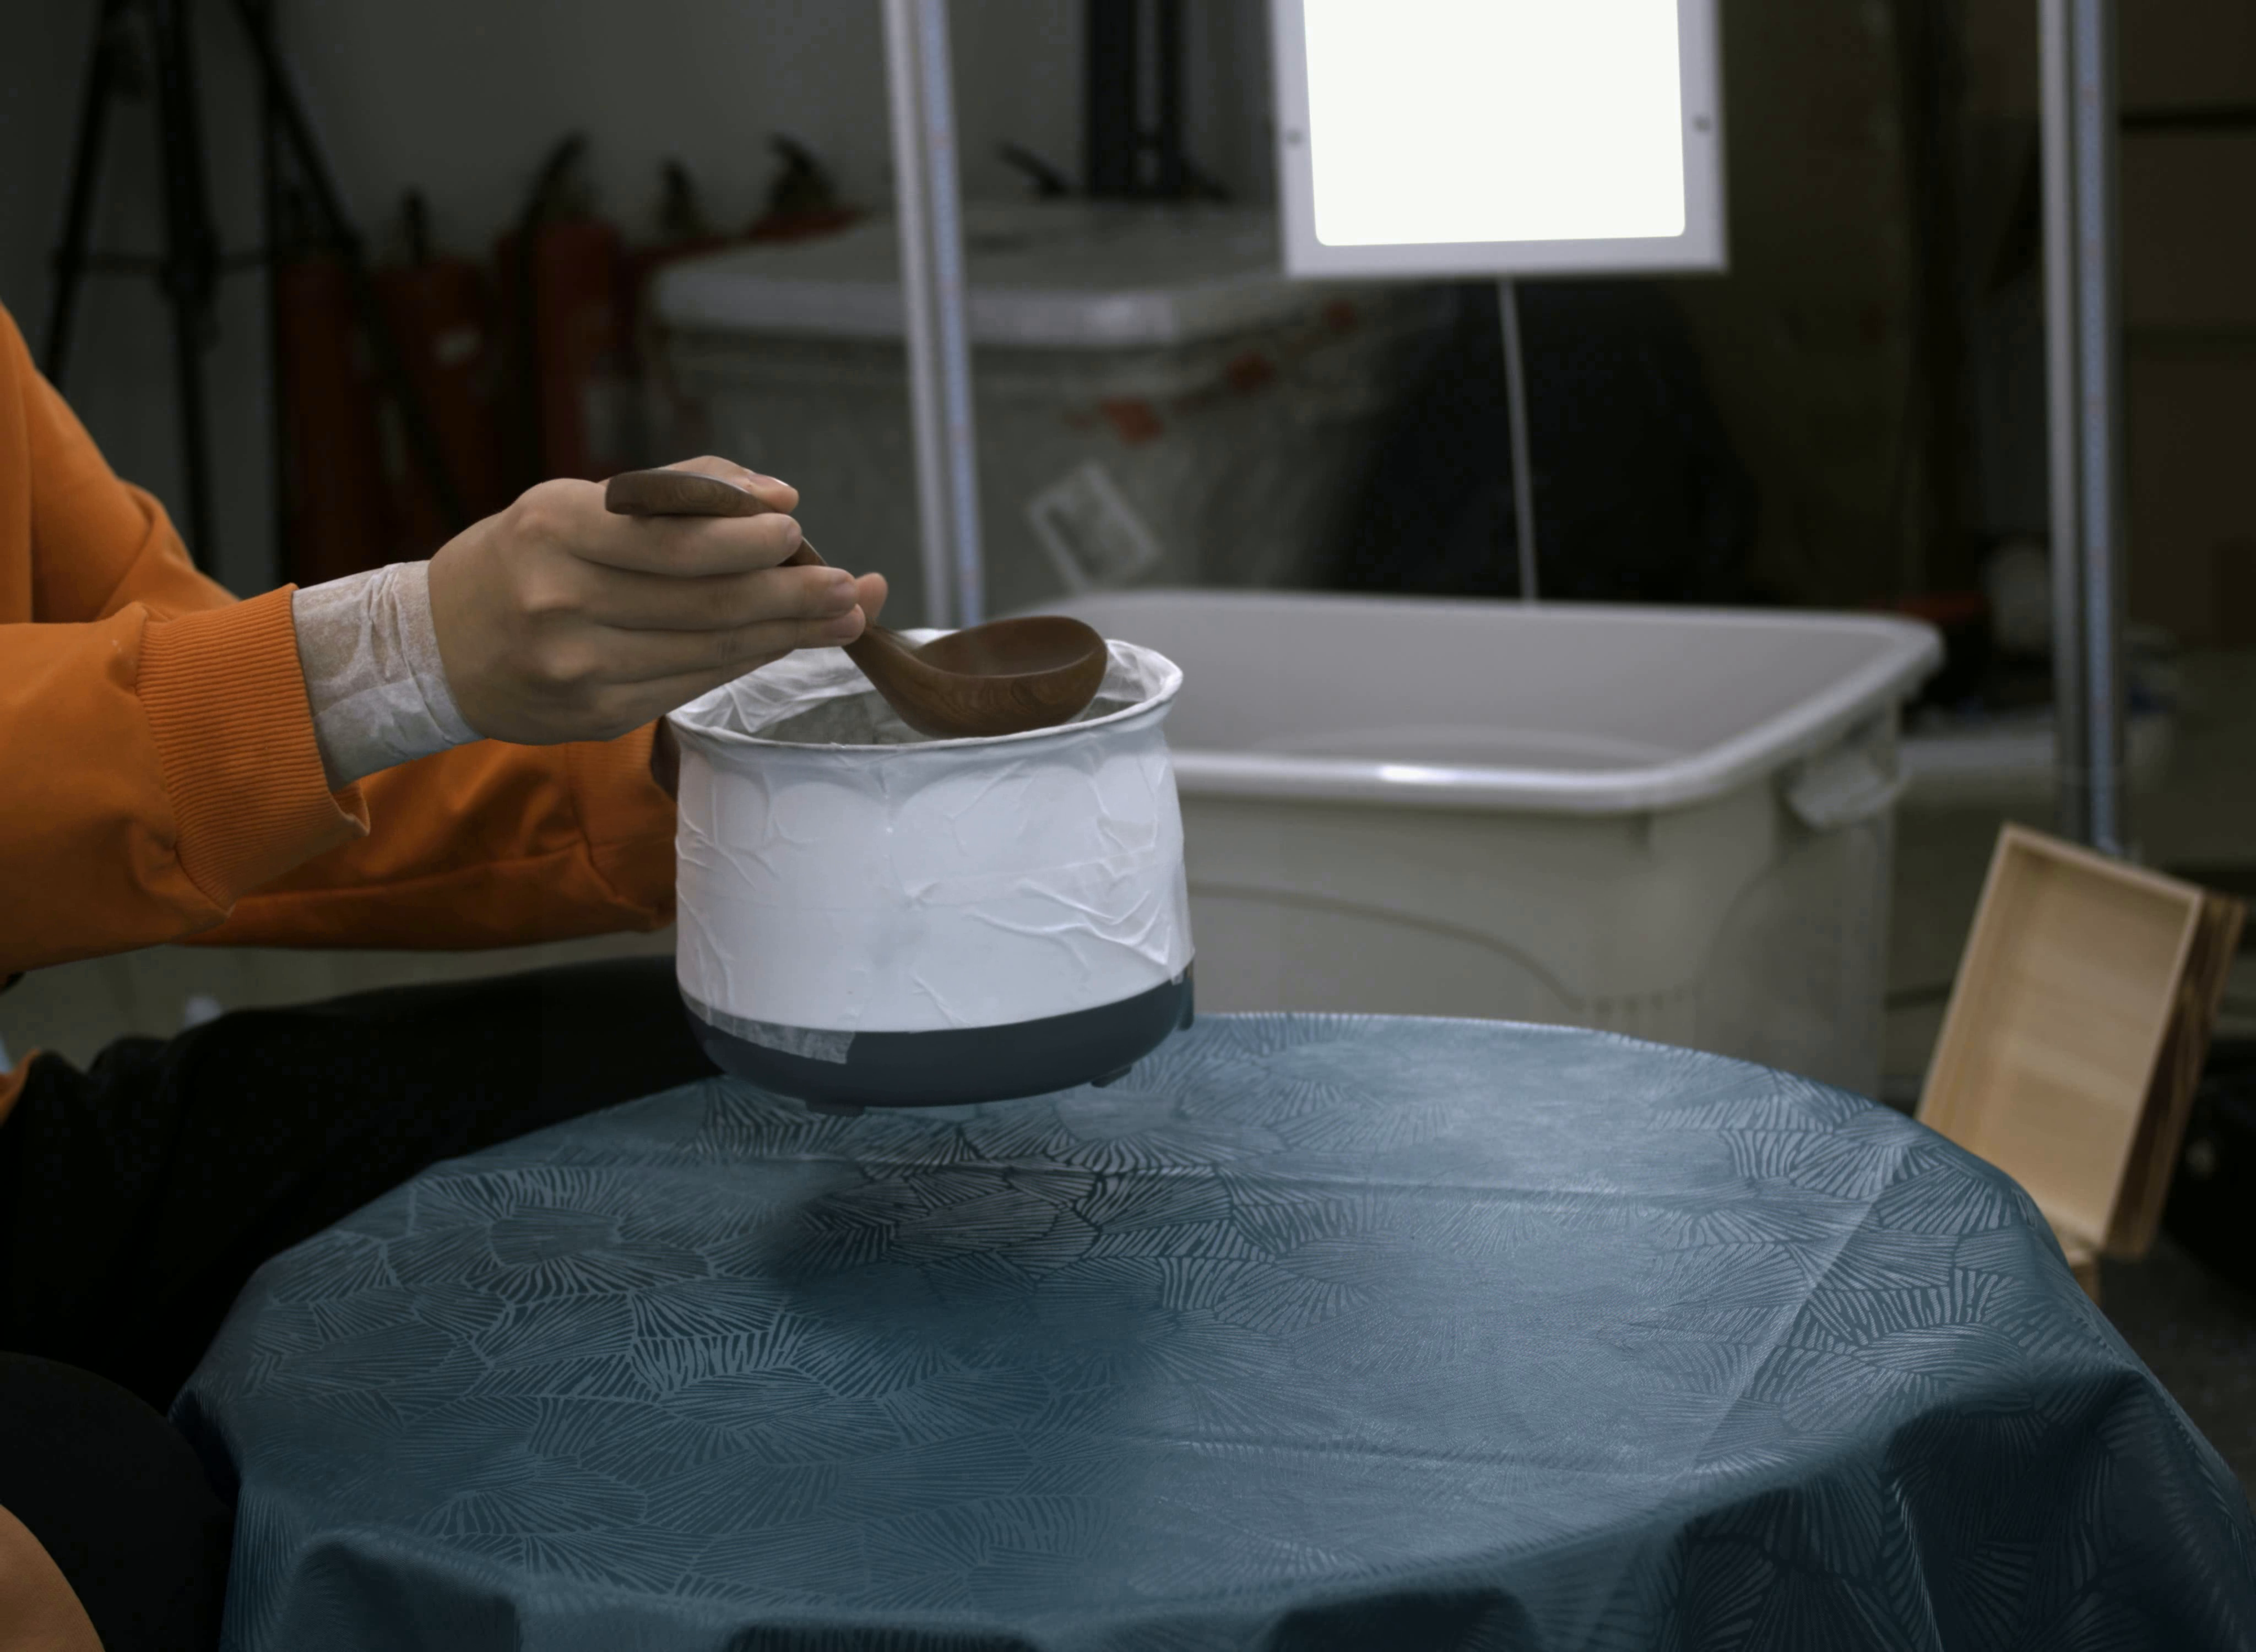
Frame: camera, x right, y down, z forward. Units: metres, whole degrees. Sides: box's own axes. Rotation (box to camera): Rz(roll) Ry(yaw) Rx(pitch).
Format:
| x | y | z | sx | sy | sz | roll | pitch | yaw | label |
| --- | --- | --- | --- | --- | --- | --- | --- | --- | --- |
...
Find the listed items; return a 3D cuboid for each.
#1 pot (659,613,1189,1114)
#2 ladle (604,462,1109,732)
| x | y | z | sx | sy | sz | roll | pitch | yaw | label |
| --- | --- | --- | --- | --- | --- | --- | --- | --- | --- |
| -0.076 | 0.007 | 1.895 | 0.176 | 0.137 | 0.236 | -6 | 15 | -16 | pot |
| -0.089 | -0.084 | 1.768 | 0.078 | 0.065 | 0.256 | -6 | -24 | 29 | ladle |
